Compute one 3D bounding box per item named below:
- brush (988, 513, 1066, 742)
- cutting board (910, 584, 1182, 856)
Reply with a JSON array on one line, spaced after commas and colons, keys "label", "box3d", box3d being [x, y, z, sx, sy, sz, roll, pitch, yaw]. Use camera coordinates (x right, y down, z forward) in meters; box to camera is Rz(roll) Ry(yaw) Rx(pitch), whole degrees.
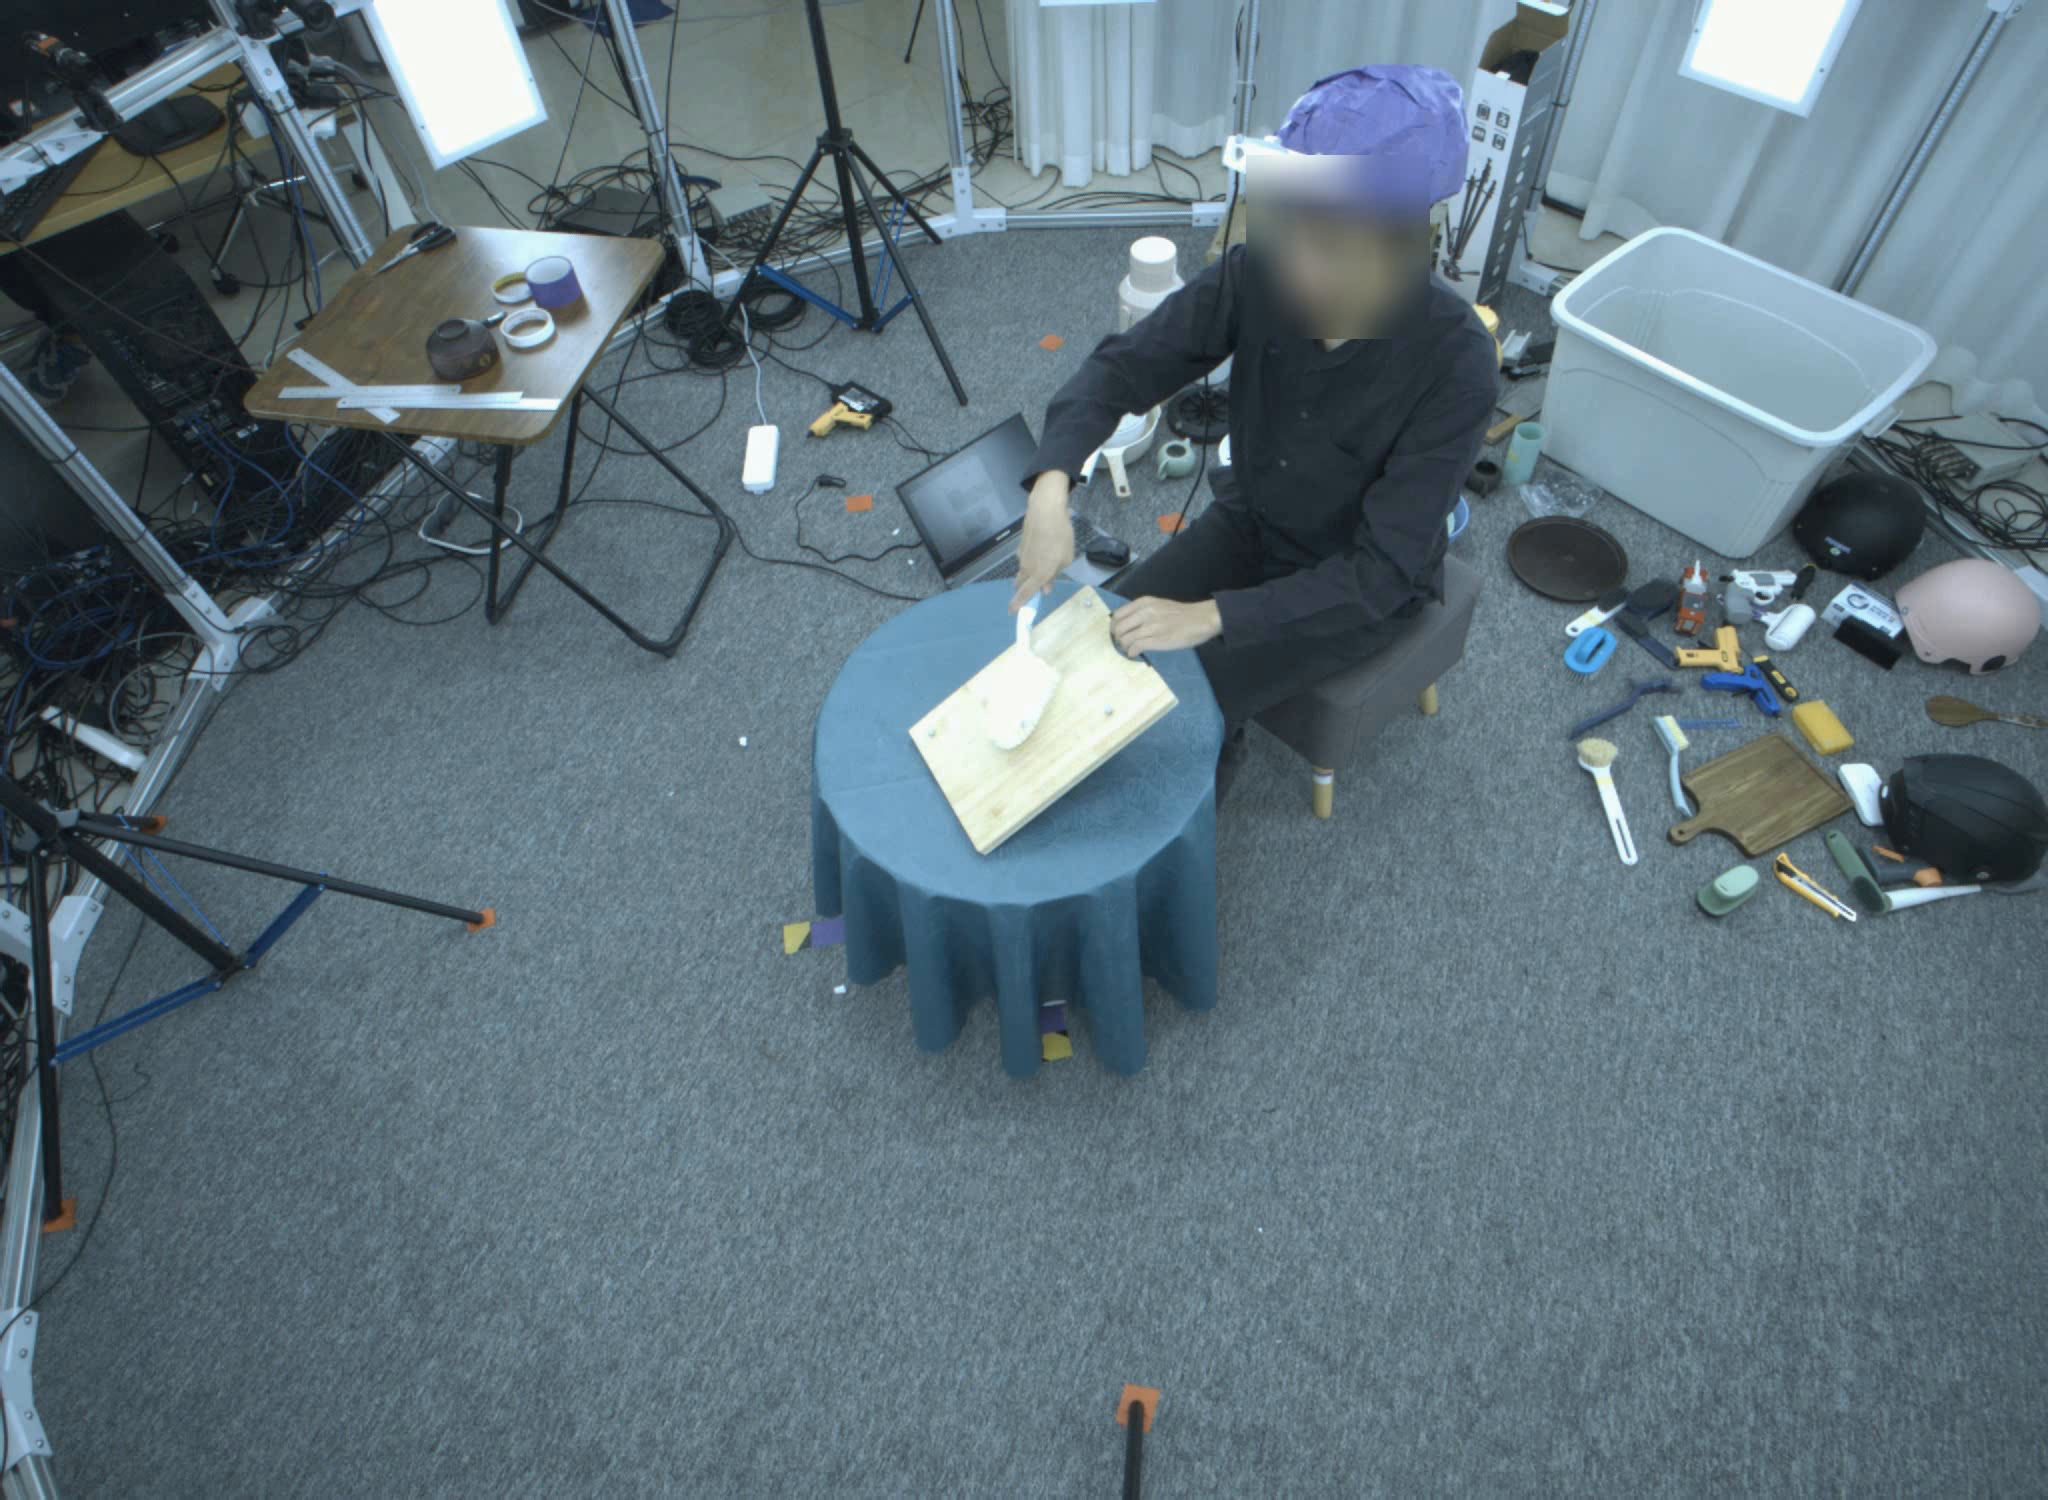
[{"label": "brush", "box3d": [0.024, -0.167, 1.710, 0.084, 0.084, 0.325, 16, 86, -8]}, {"label": "cutting board", "box3d": [0.020, -0.046, 1.718, 0.348, 0.024, 0.246, -40, 58, 7]}]
